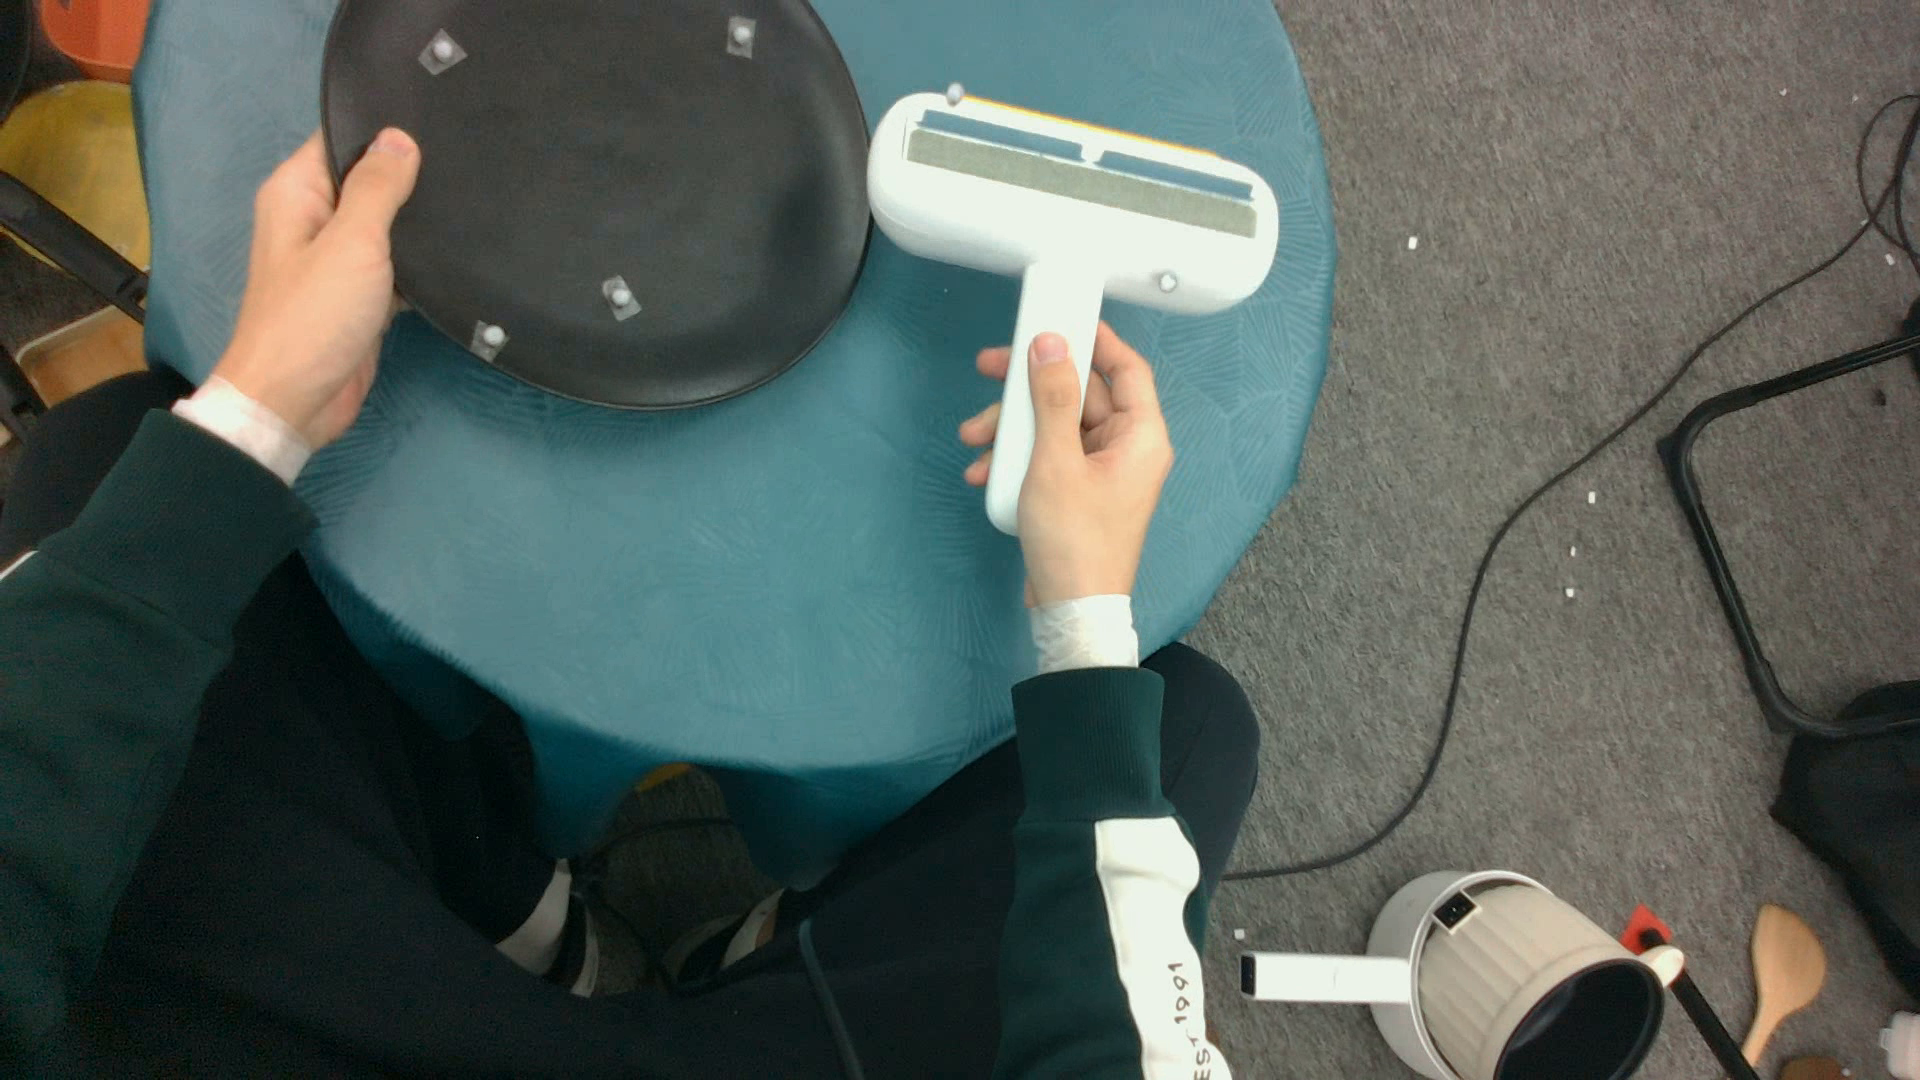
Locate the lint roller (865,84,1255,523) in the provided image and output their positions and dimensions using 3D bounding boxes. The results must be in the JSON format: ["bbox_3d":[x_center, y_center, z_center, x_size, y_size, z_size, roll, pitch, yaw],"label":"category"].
[{"bbox_3d":[0.030,-0.101,0.655,0.193,0.074,0.192,18,85,-17],"label":"lint roller"}]

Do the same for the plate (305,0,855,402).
[{"bbox_3d":[-0.163,-0.179,0.625,0.245,0.023,0.244,5,79,-27],"label":"plate"}]
